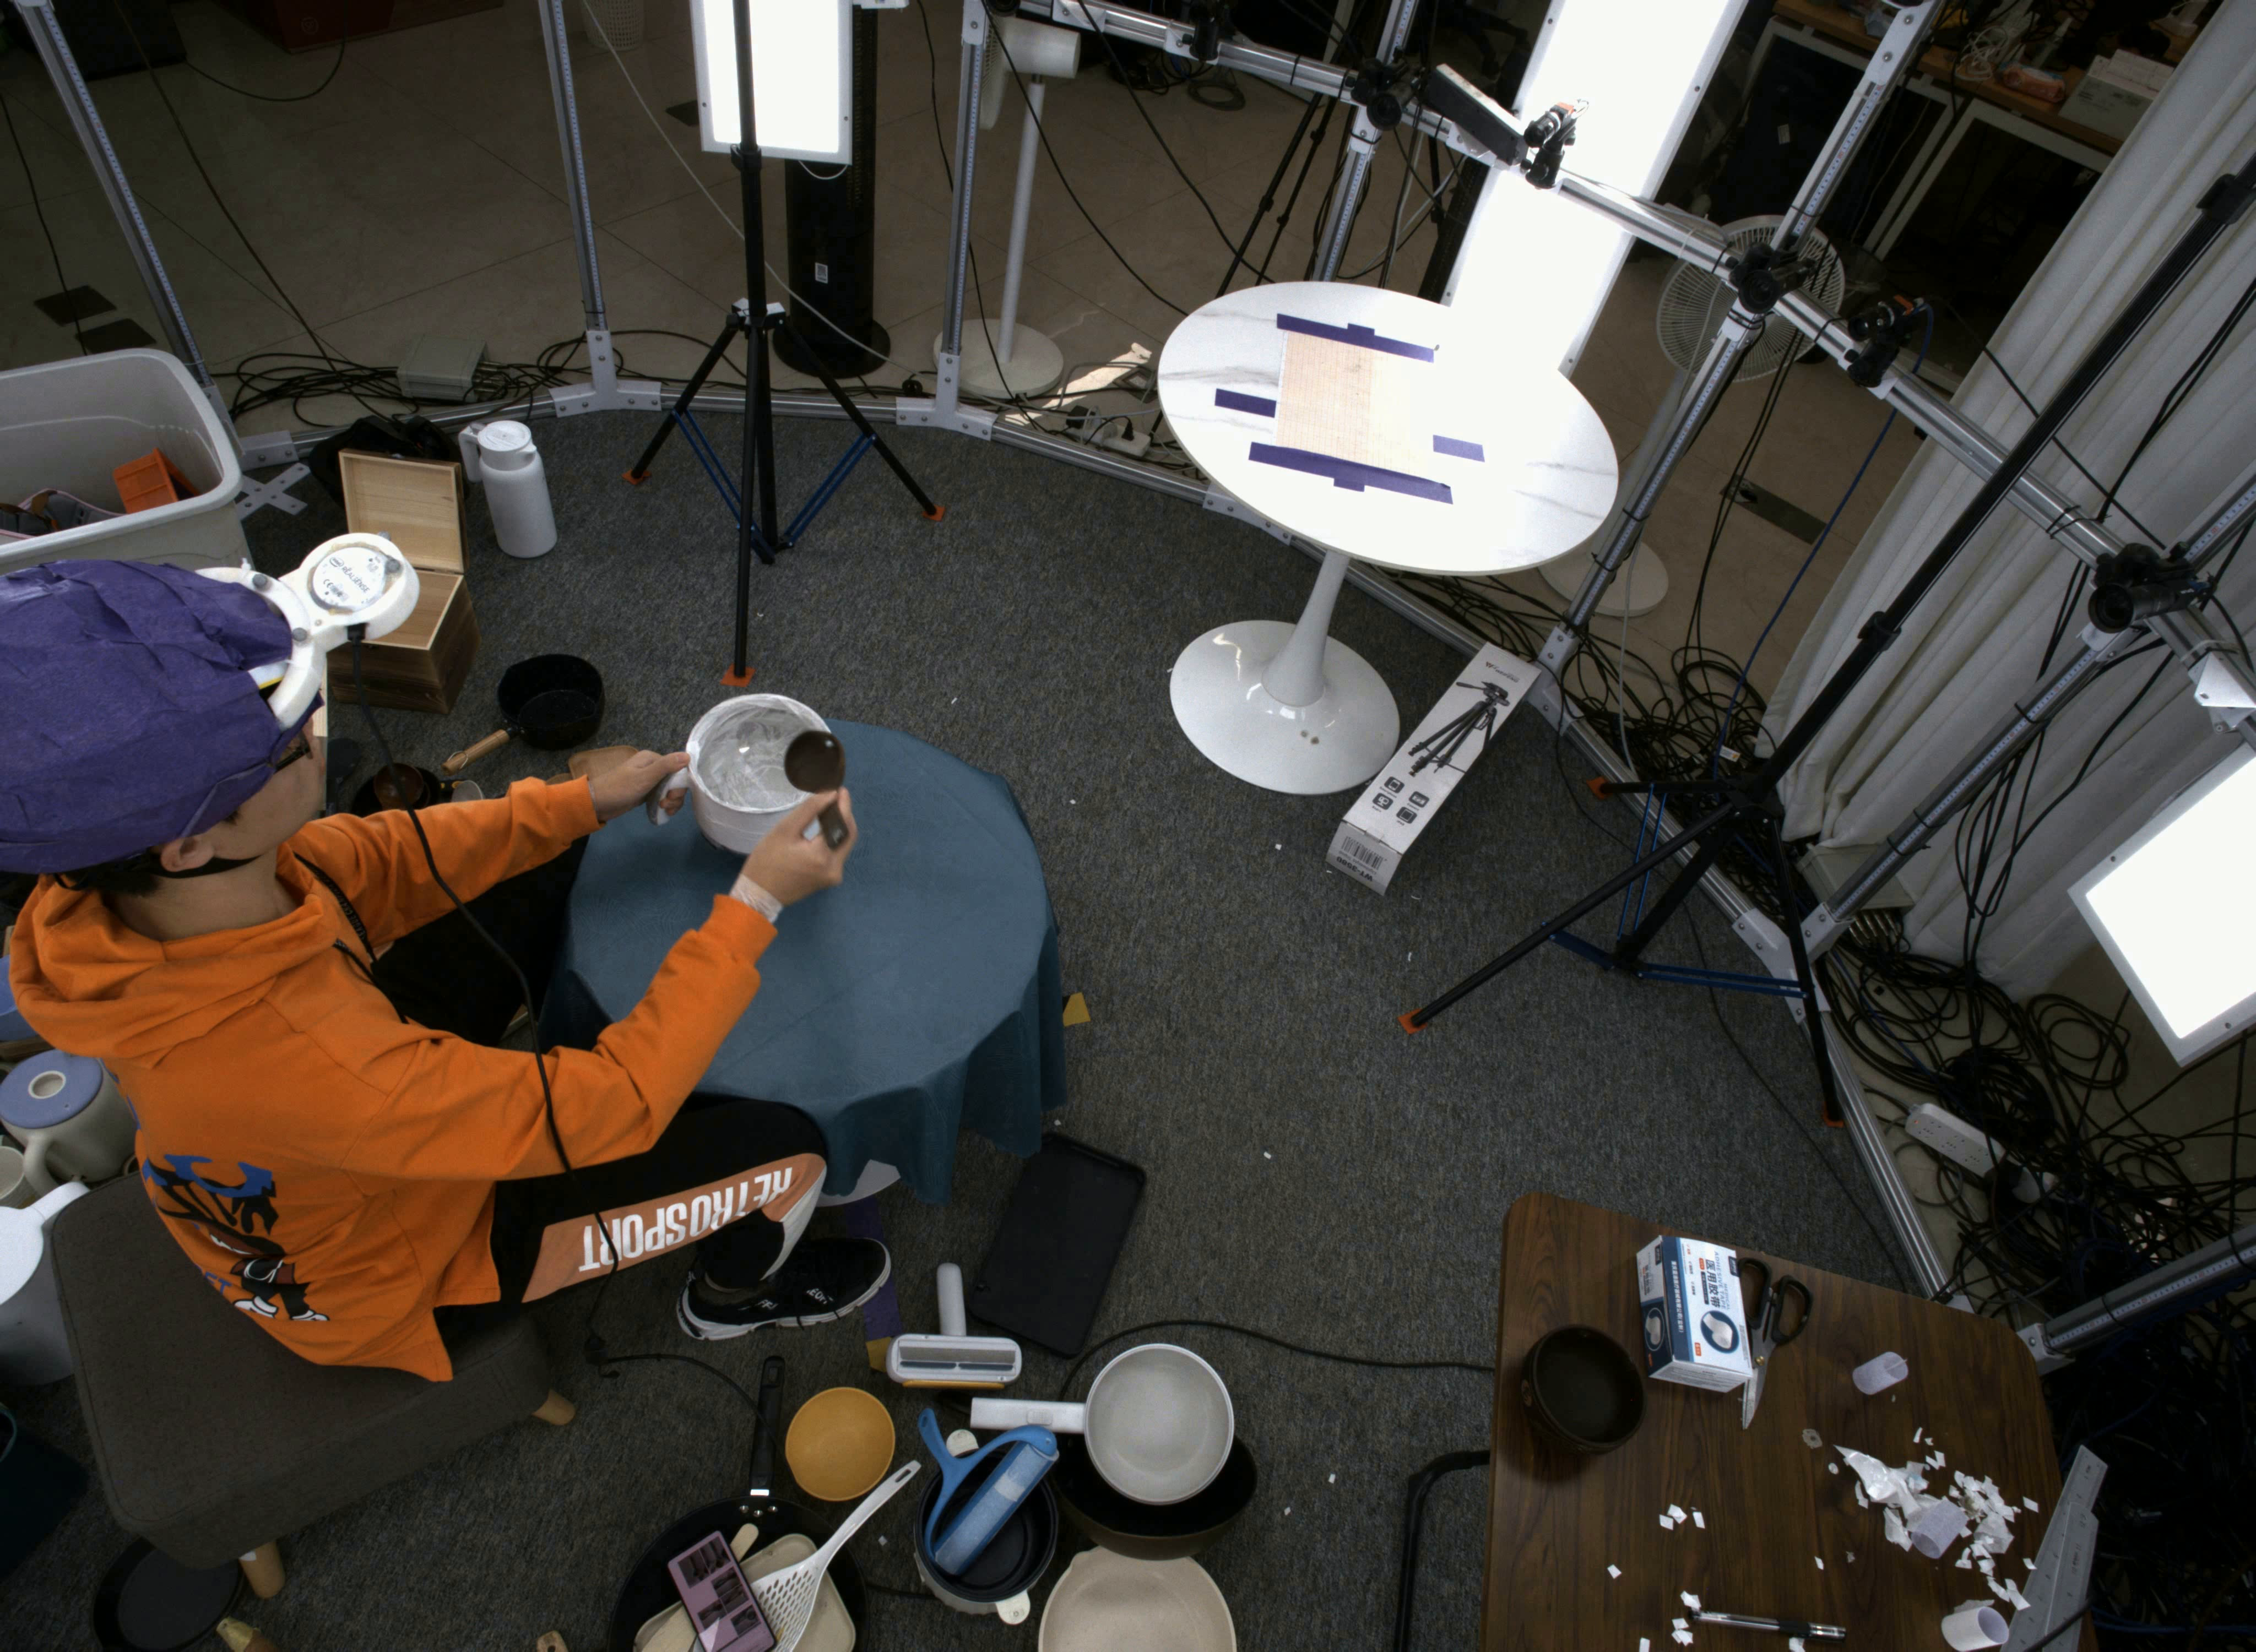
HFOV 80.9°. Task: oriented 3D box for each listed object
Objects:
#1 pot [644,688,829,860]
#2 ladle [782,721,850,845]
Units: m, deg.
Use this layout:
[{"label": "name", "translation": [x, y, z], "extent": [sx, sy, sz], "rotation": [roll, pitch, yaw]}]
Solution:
[{"label": "pot", "translation": [-0.481, -0.056, 1.592], "extent": [0.235, 0.139, 0.175], "rotation": [-10, 61, -20]}, {"label": "ladle", "translation": [-0.330, -0.049, 1.364], "extent": [0.076, 0.267, 0.073], "rotation": [-46, 112, 3]}]
